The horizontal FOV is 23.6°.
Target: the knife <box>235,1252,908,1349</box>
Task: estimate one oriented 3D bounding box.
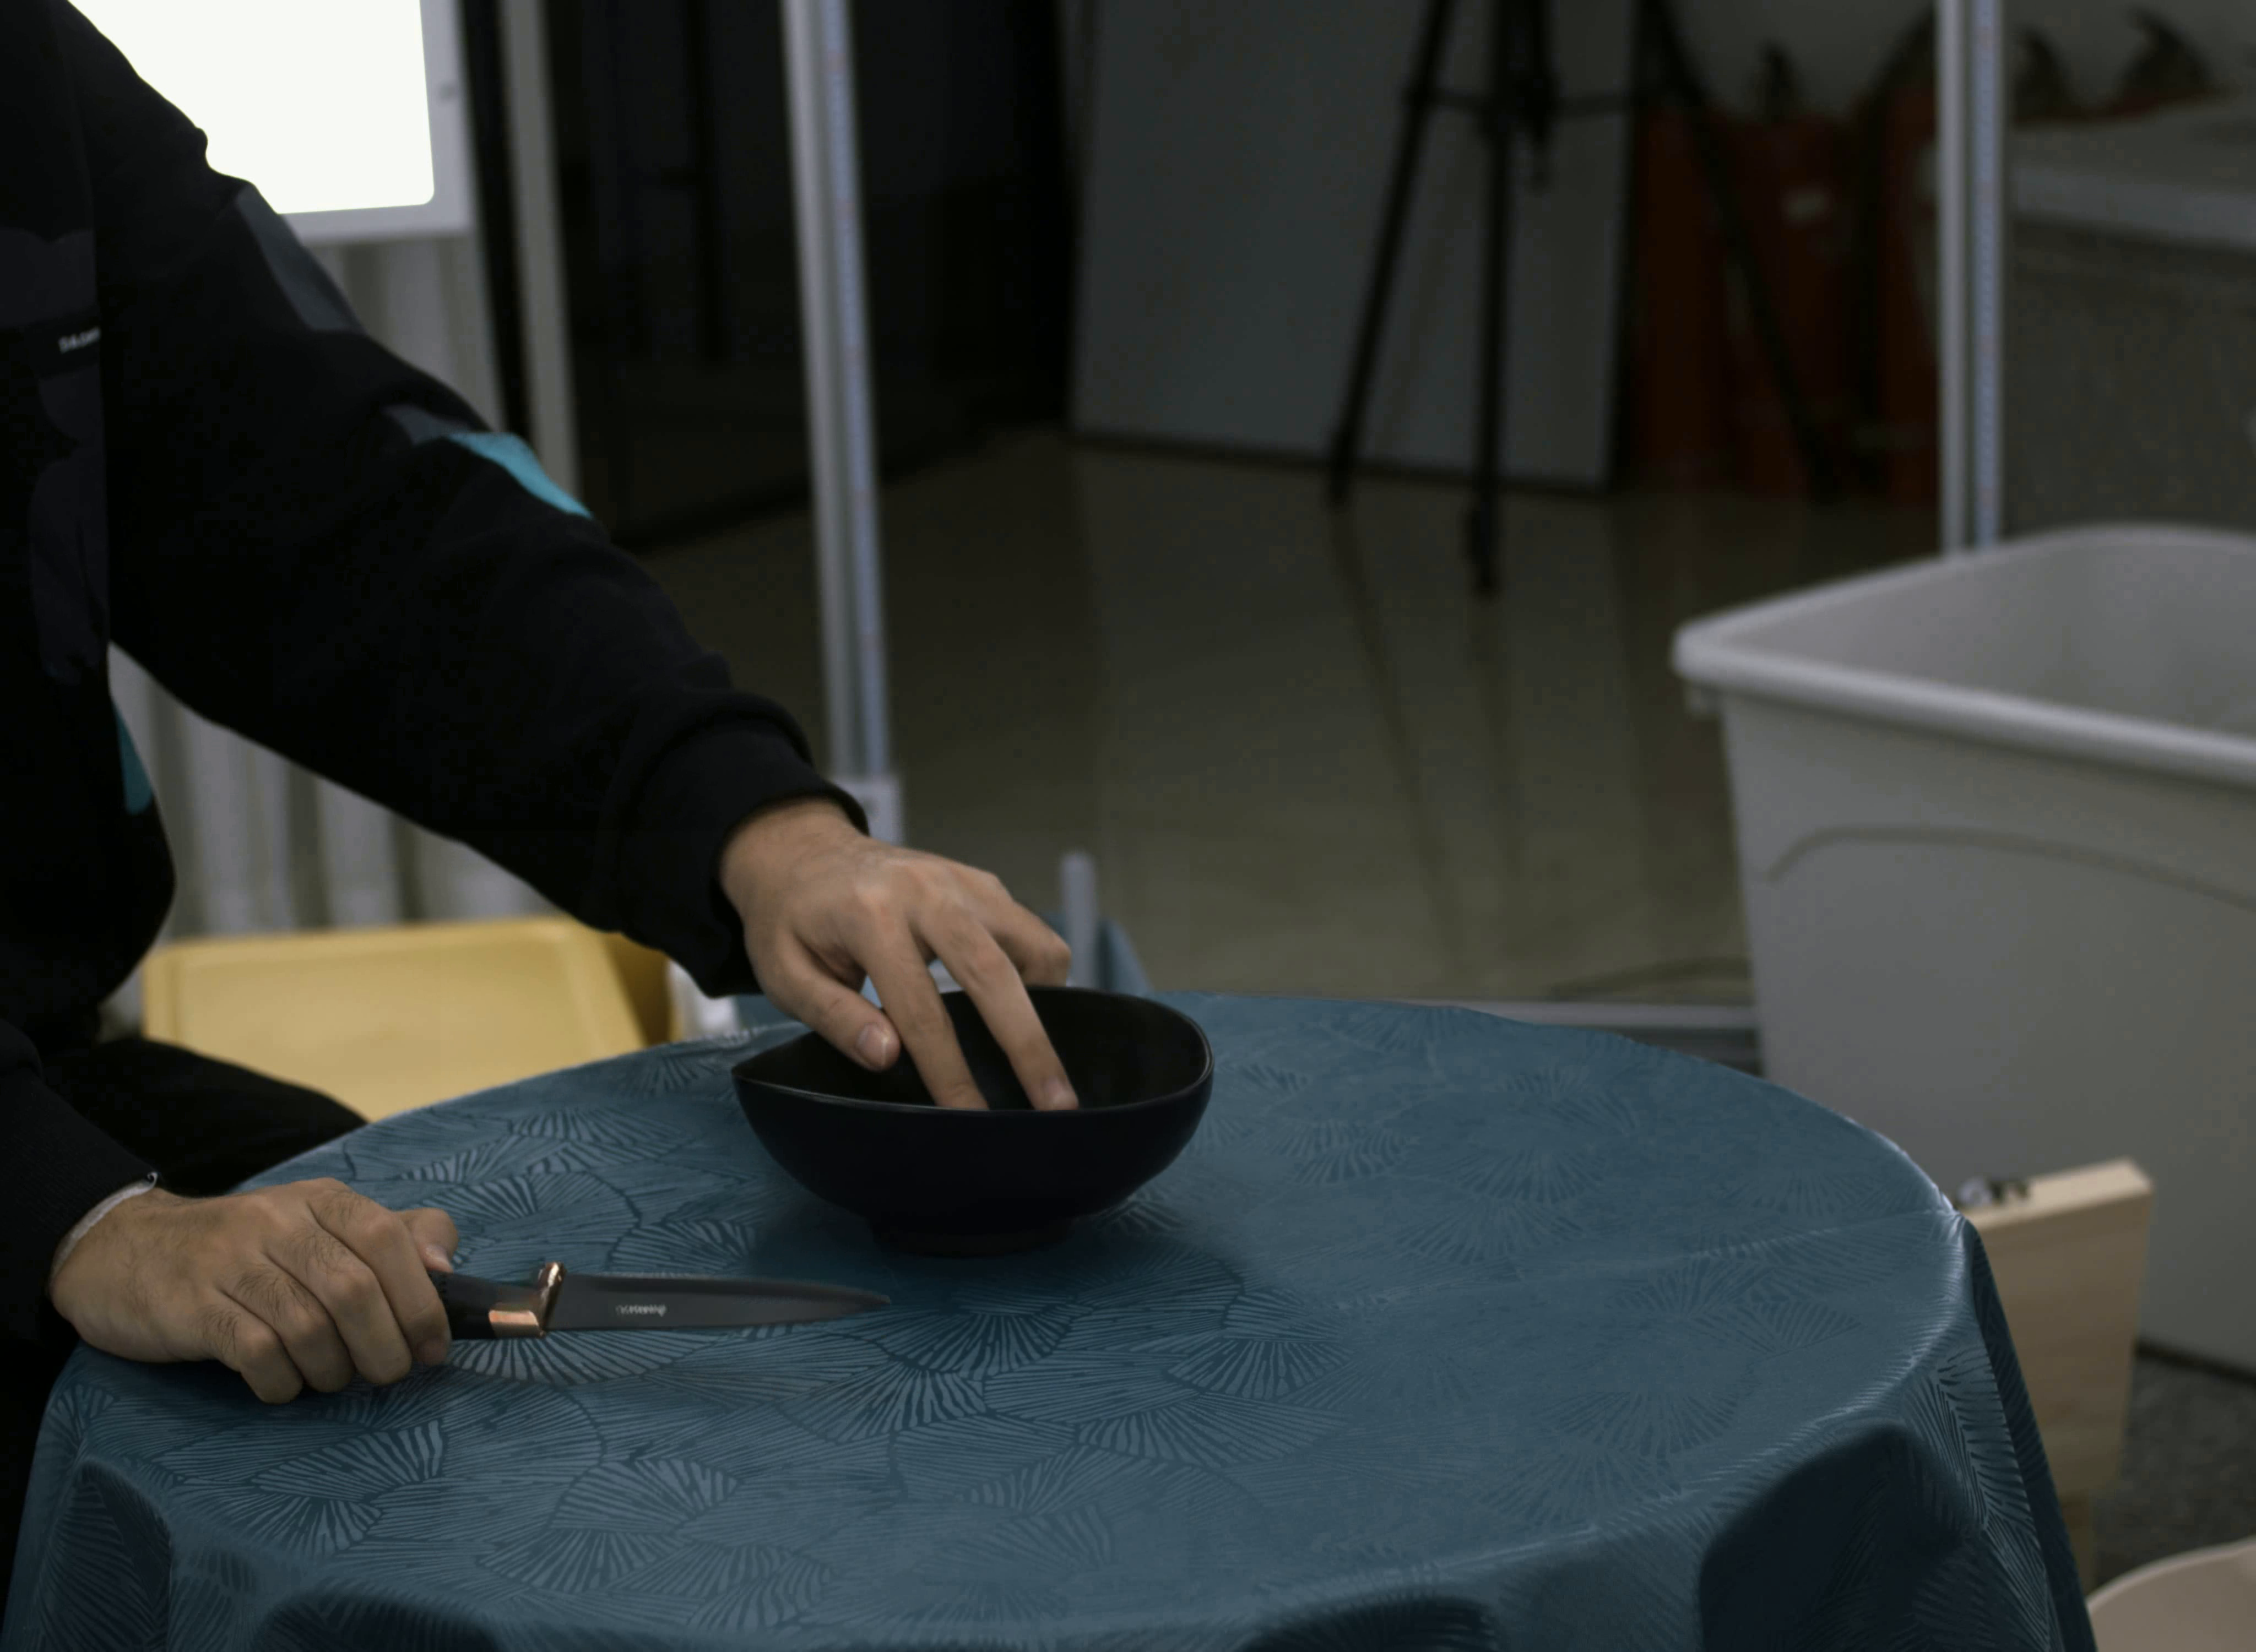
[{"bbox_3d":[-0.169,0.143,1.629,0.225,0.017,0.026,-5,51,23],"label":"knife"}]

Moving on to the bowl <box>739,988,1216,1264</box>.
[{"bbox_3d":[-0.048,0.100,1.735,0.171,0.067,0.135,3,14,34],"label":"bowl"}]
